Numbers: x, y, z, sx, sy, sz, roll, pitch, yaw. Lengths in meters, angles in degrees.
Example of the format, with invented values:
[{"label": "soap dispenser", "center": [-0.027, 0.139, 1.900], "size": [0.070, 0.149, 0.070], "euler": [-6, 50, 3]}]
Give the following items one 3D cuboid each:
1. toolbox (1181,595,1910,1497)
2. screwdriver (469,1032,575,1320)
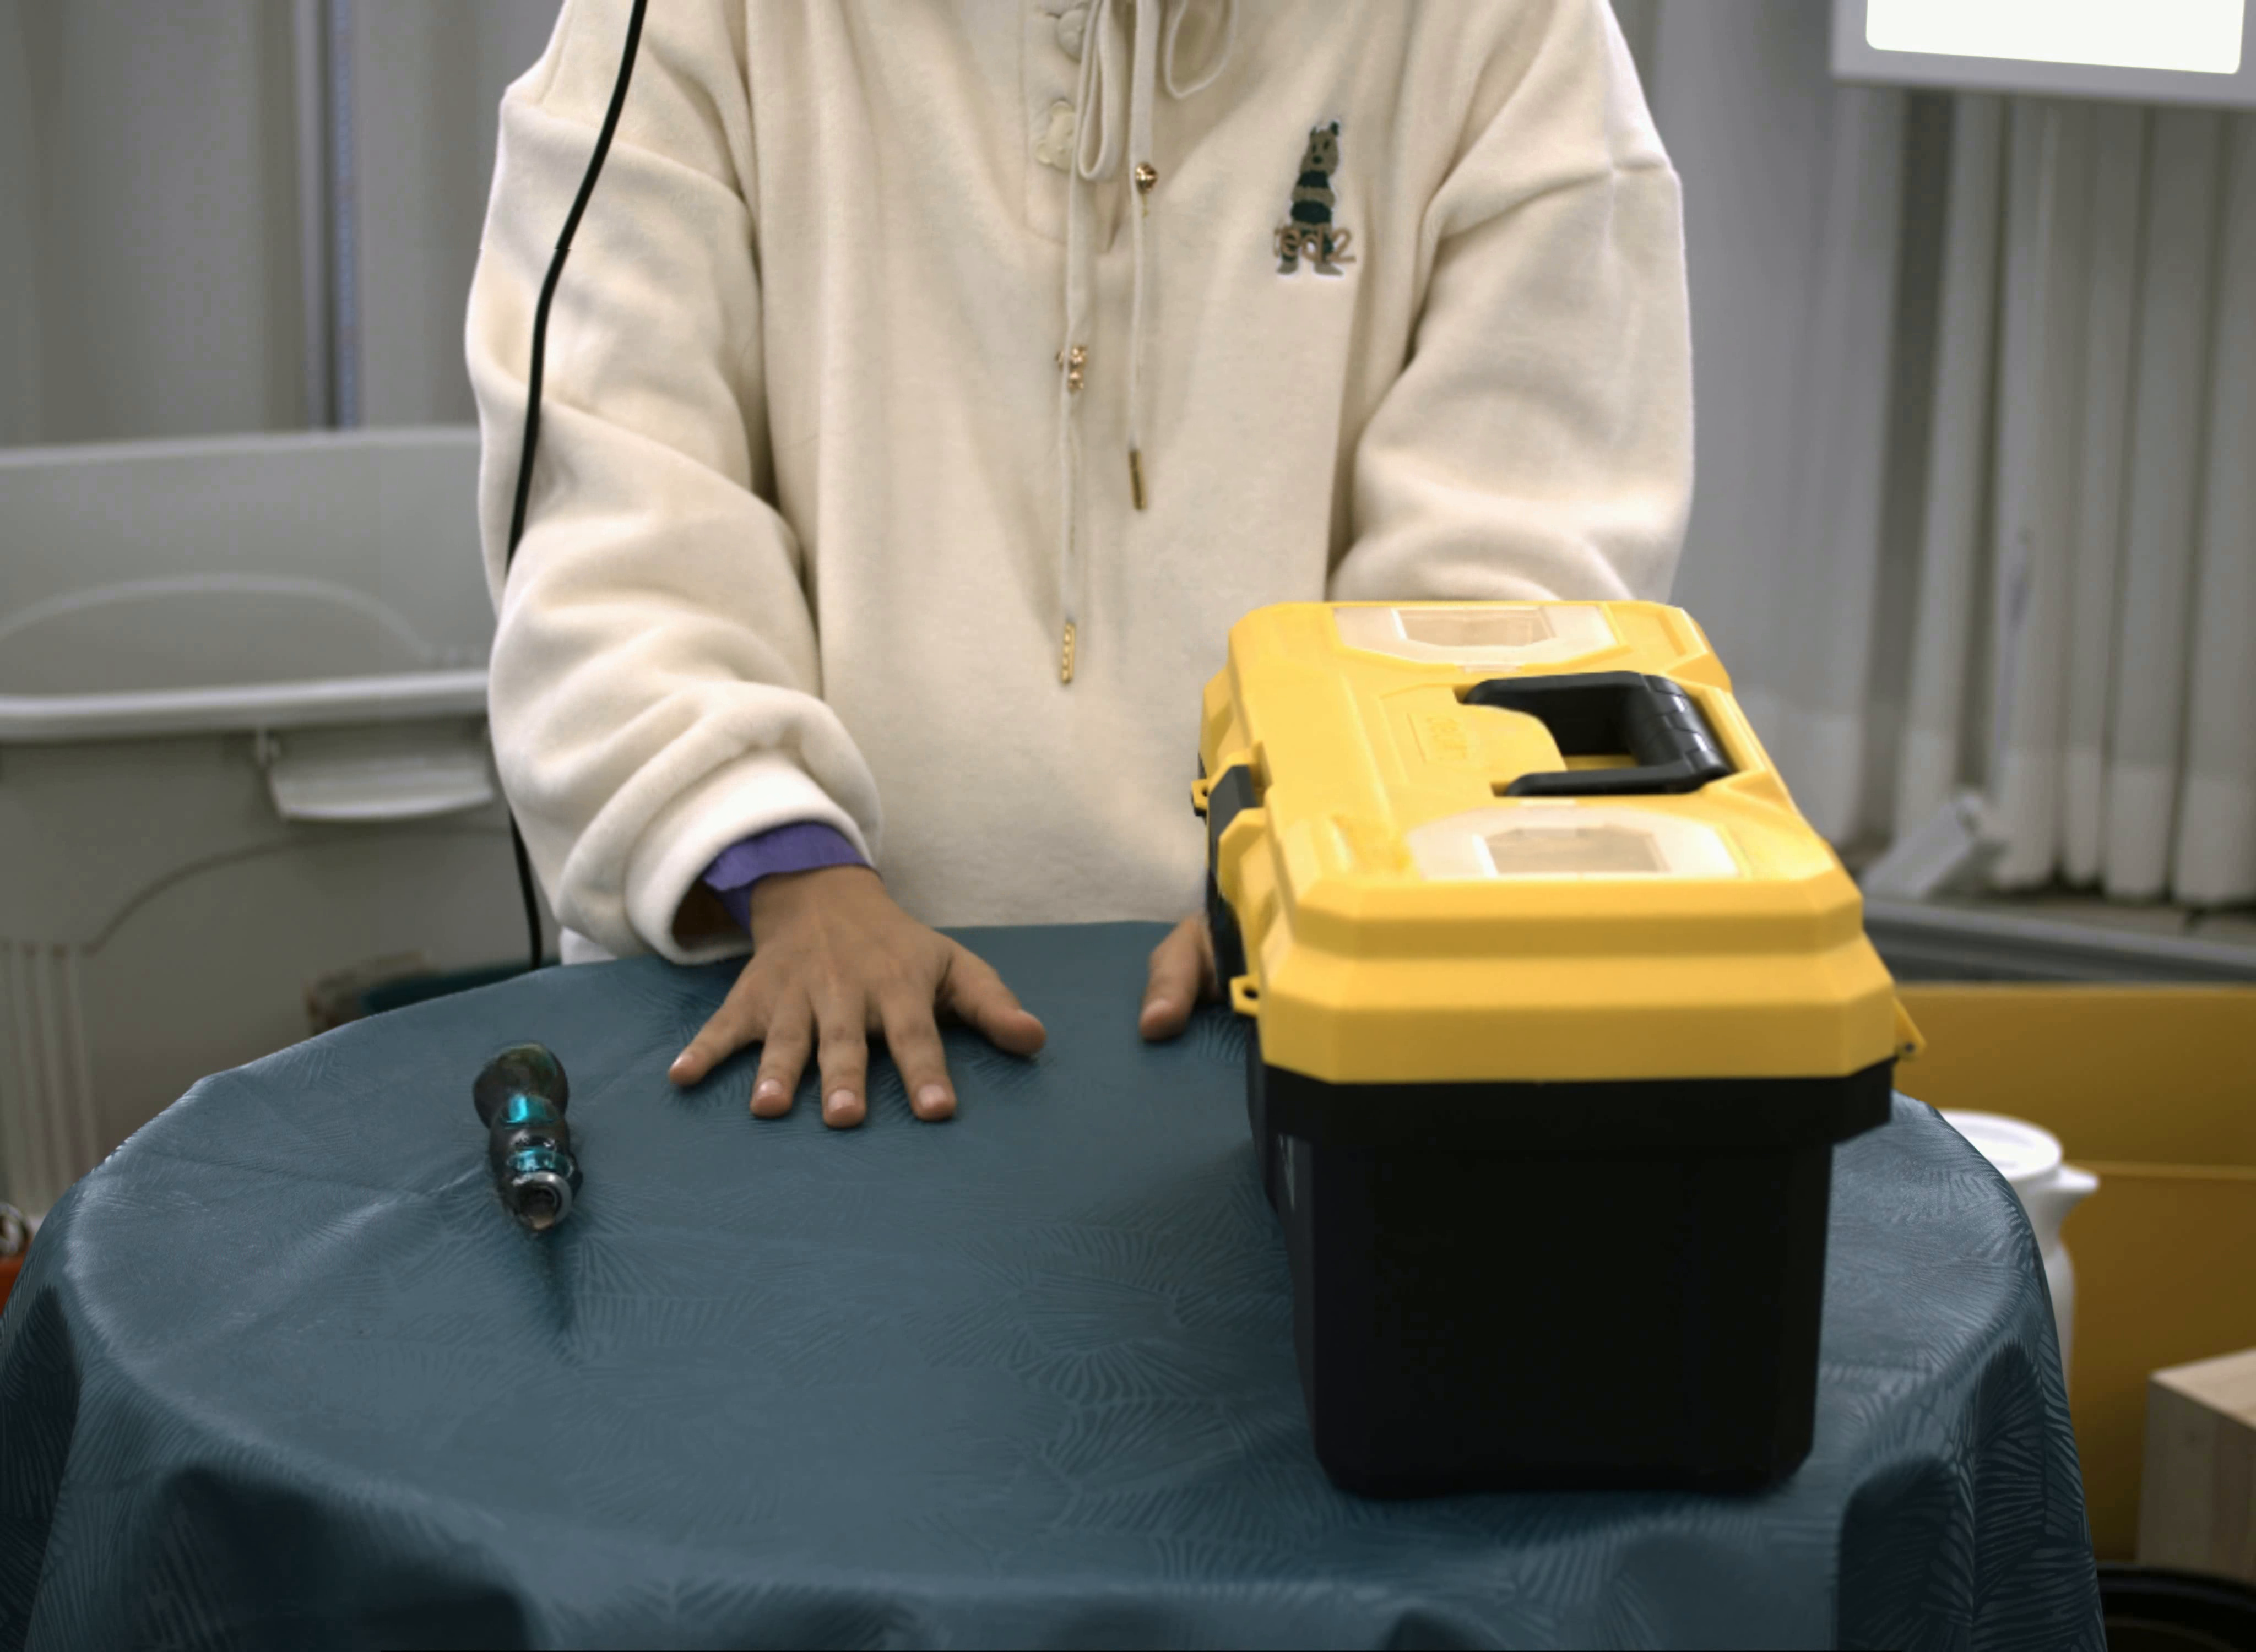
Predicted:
[{"label": "toolbox", "center": [0.111, 0.053, 1.511], "size": [0.181, 0.174, 0.349], "euler": [0, 16, -2]}, {"label": "screwdriver", "center": [-0.180, 0.108, 1.592], "size": [0.034, 0.034, 0.188], "euler": [-2, 20, -9]}]
